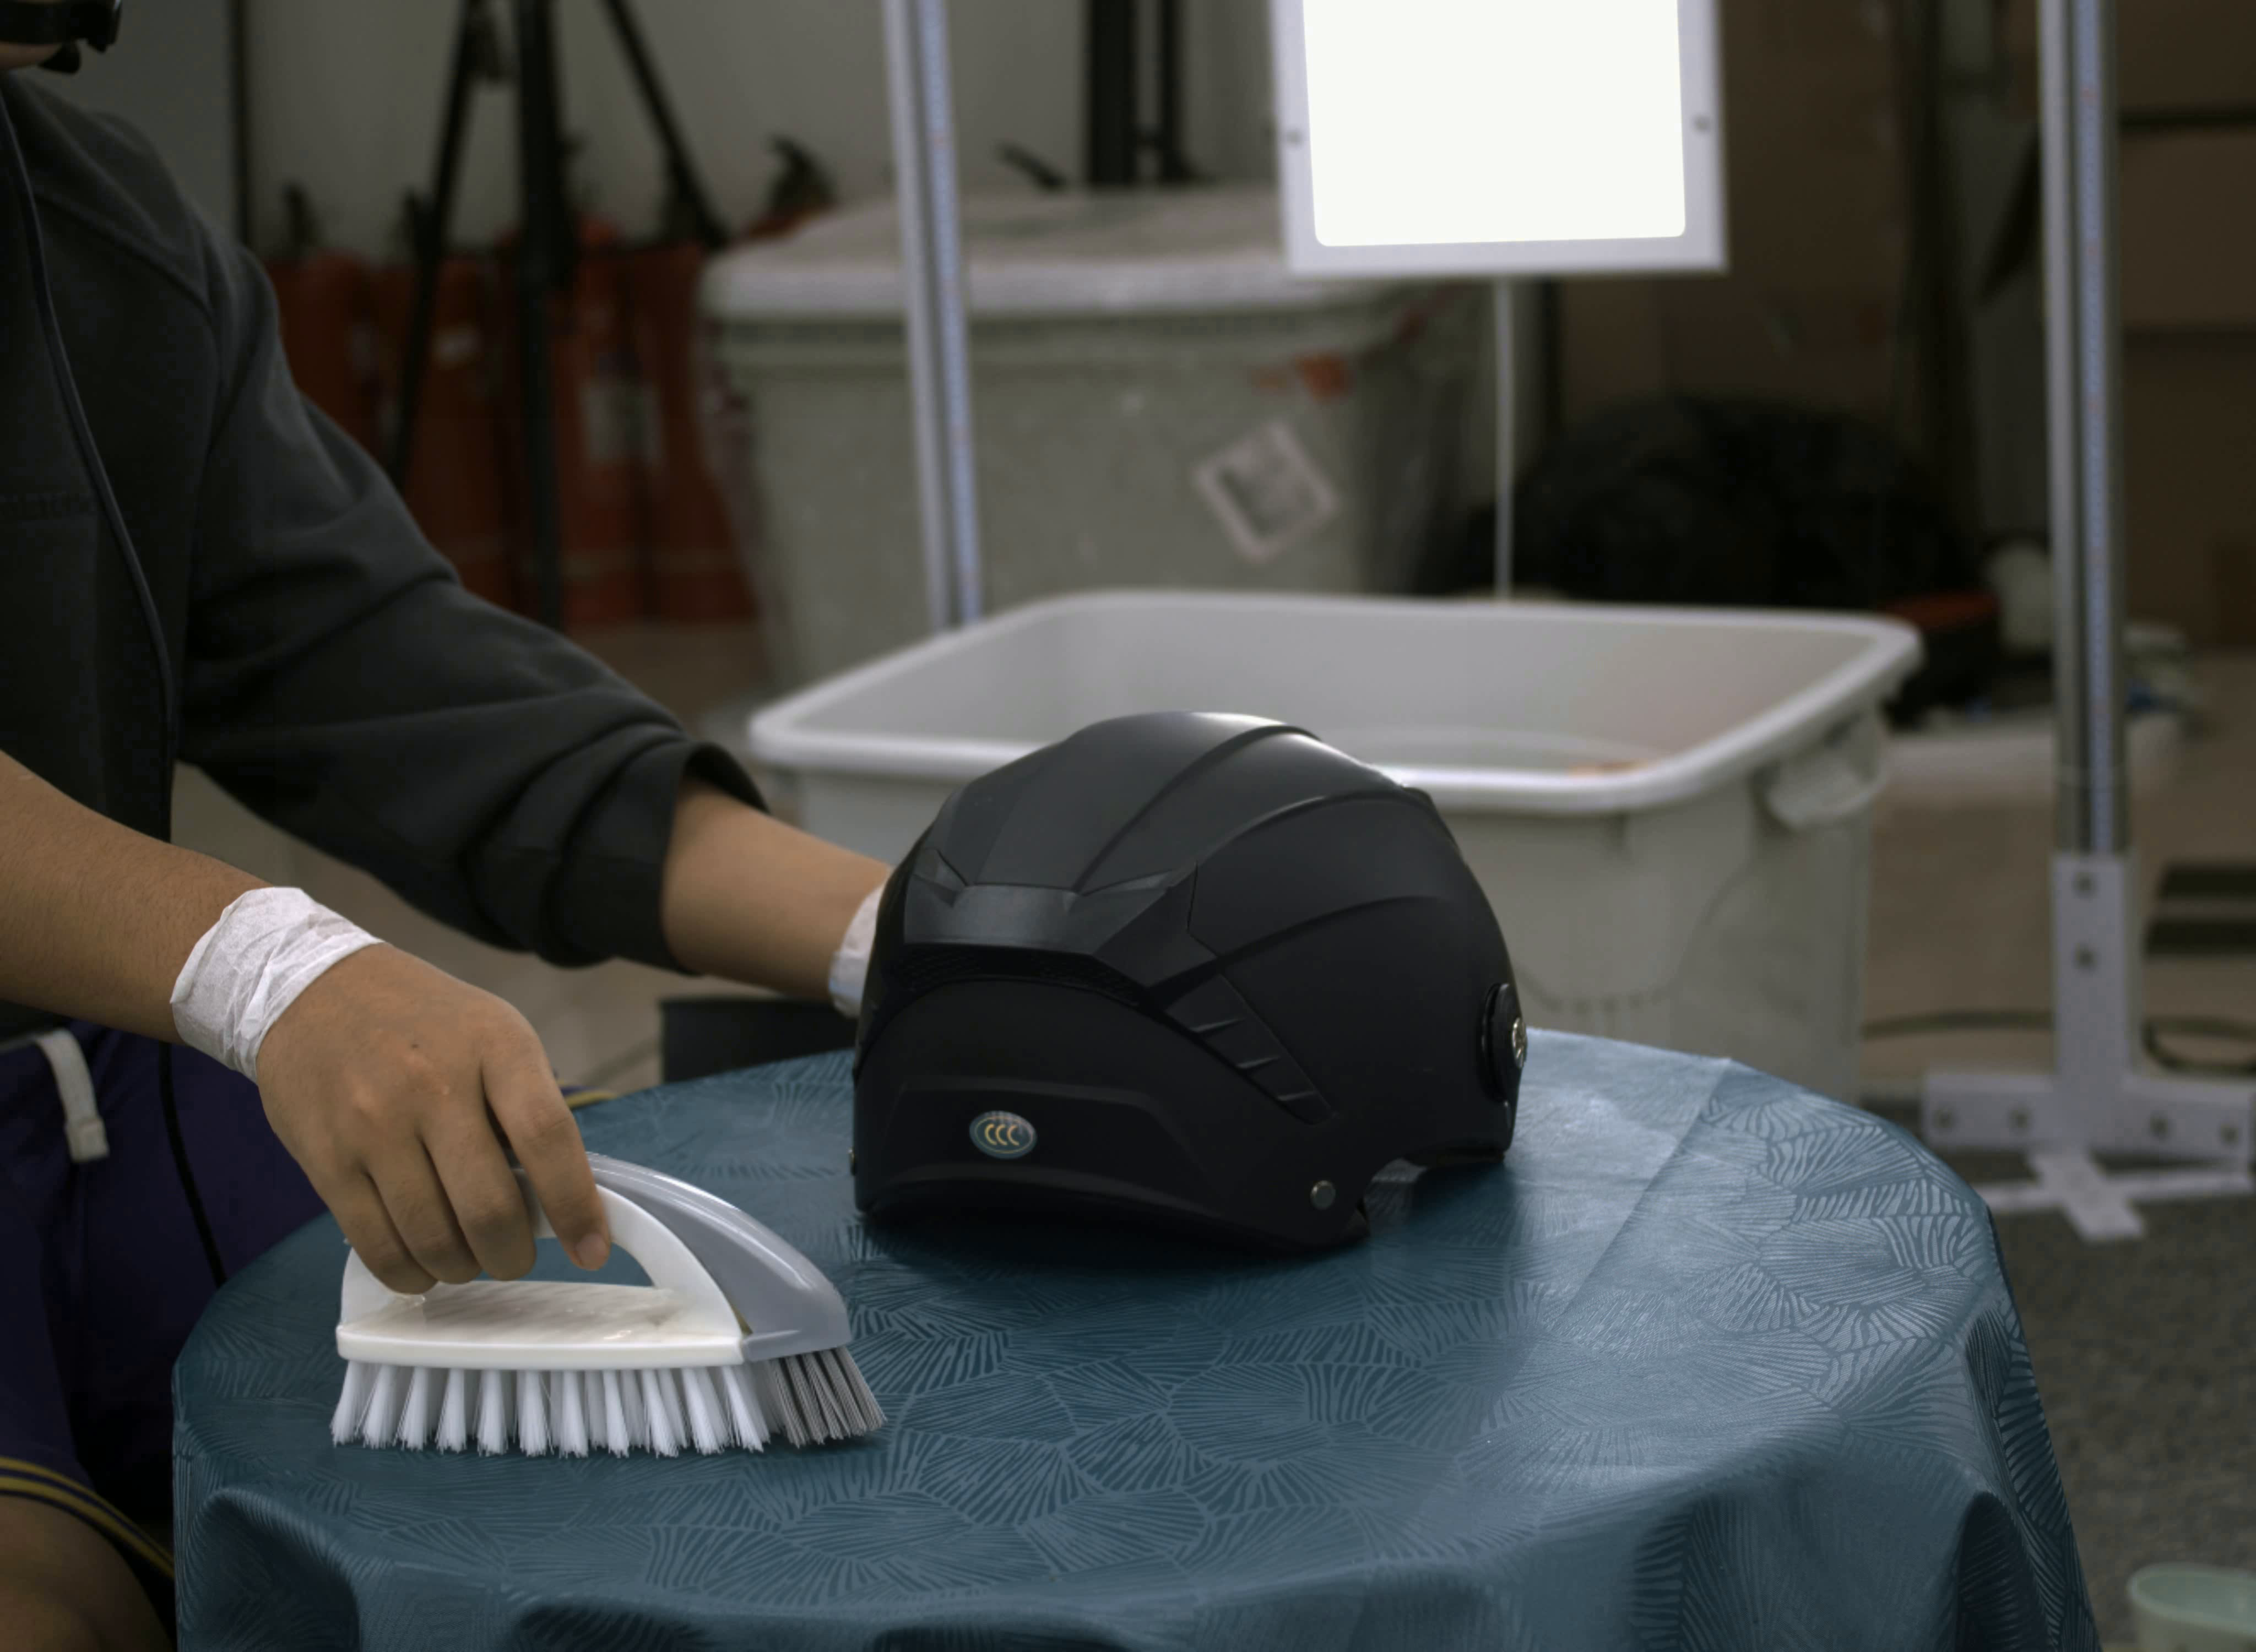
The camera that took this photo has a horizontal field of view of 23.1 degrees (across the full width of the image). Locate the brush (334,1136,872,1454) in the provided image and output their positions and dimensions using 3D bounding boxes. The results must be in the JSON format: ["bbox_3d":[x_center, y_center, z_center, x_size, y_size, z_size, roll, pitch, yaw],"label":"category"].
[{"bbox_3d":[-0.163,0.142,1.701,0.178,0.094,0.060,2,17,21],"label":"brush"}]

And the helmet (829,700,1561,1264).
[{"bbox_3d":[0.020,0.043,1.898,0.251,0.173,0.270,4,21,29],"label":"helmet"}]
